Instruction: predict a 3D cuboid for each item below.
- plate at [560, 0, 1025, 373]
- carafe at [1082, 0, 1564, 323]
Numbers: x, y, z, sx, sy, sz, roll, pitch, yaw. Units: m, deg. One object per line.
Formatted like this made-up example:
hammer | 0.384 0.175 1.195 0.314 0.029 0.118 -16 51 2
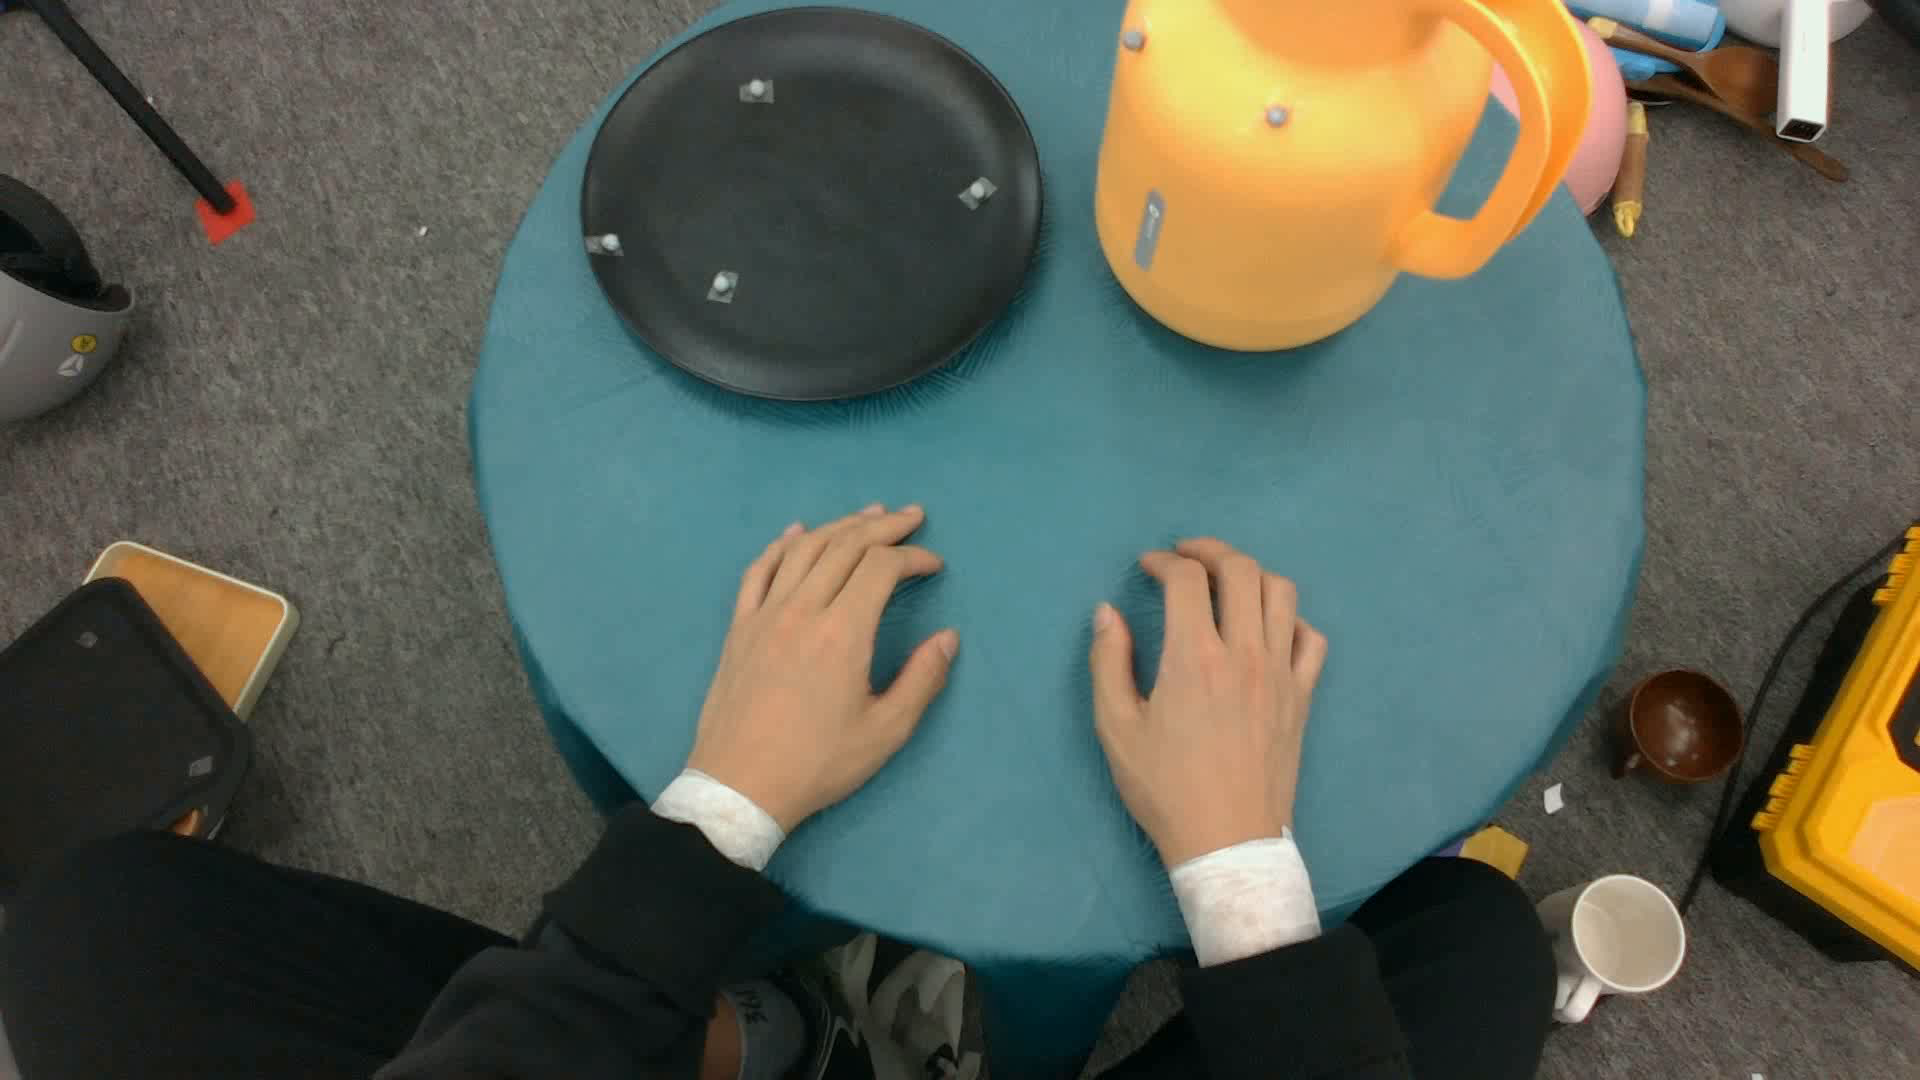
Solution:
plate | -0.087 -0.194 0.730 0.244 0.023 0.245 0 70 -1
carafe | 0.153 -0.205 0.612 0.164 0.259 0.202 -39 74 -11
